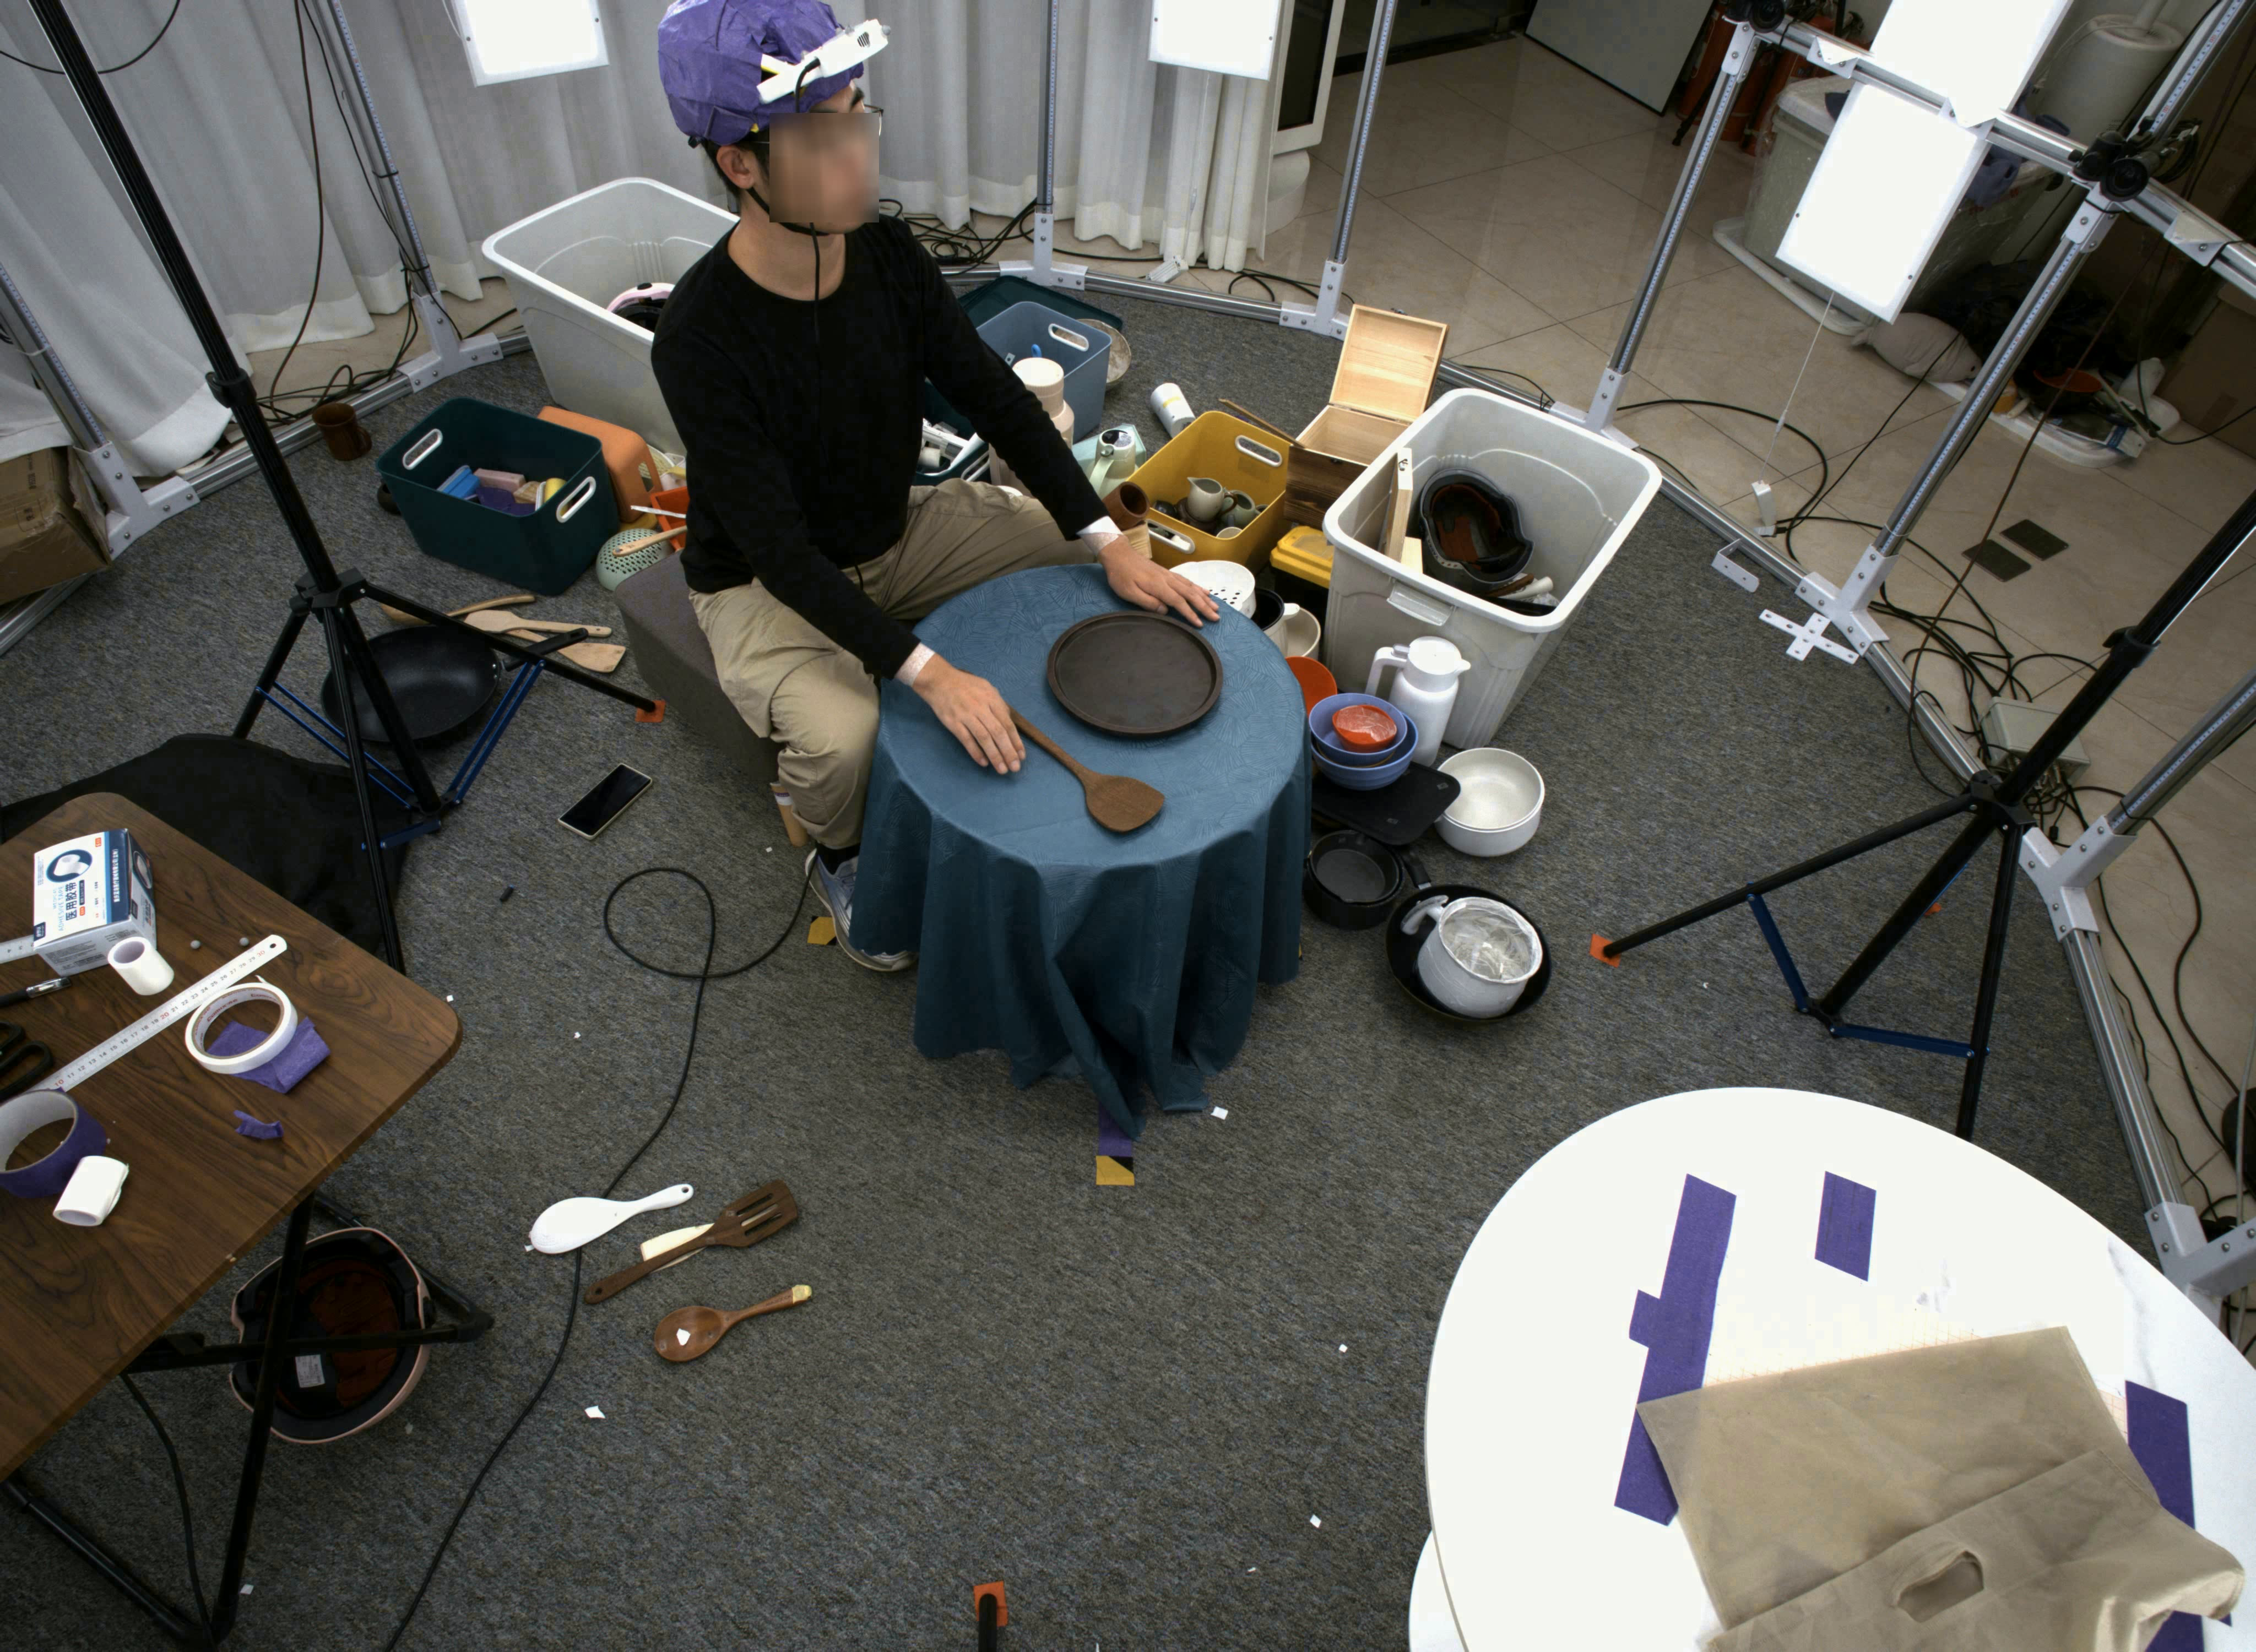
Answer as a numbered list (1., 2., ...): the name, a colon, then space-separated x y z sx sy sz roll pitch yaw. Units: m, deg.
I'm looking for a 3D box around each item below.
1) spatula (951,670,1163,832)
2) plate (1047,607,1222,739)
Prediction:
1. spatula: -0.113 -0.113 1.751 0.097 0.015 0.392 -35 60 -30
2. plate: 0.010 -0.218 1.844 0.254 0.028 0.261 1 50 -2
